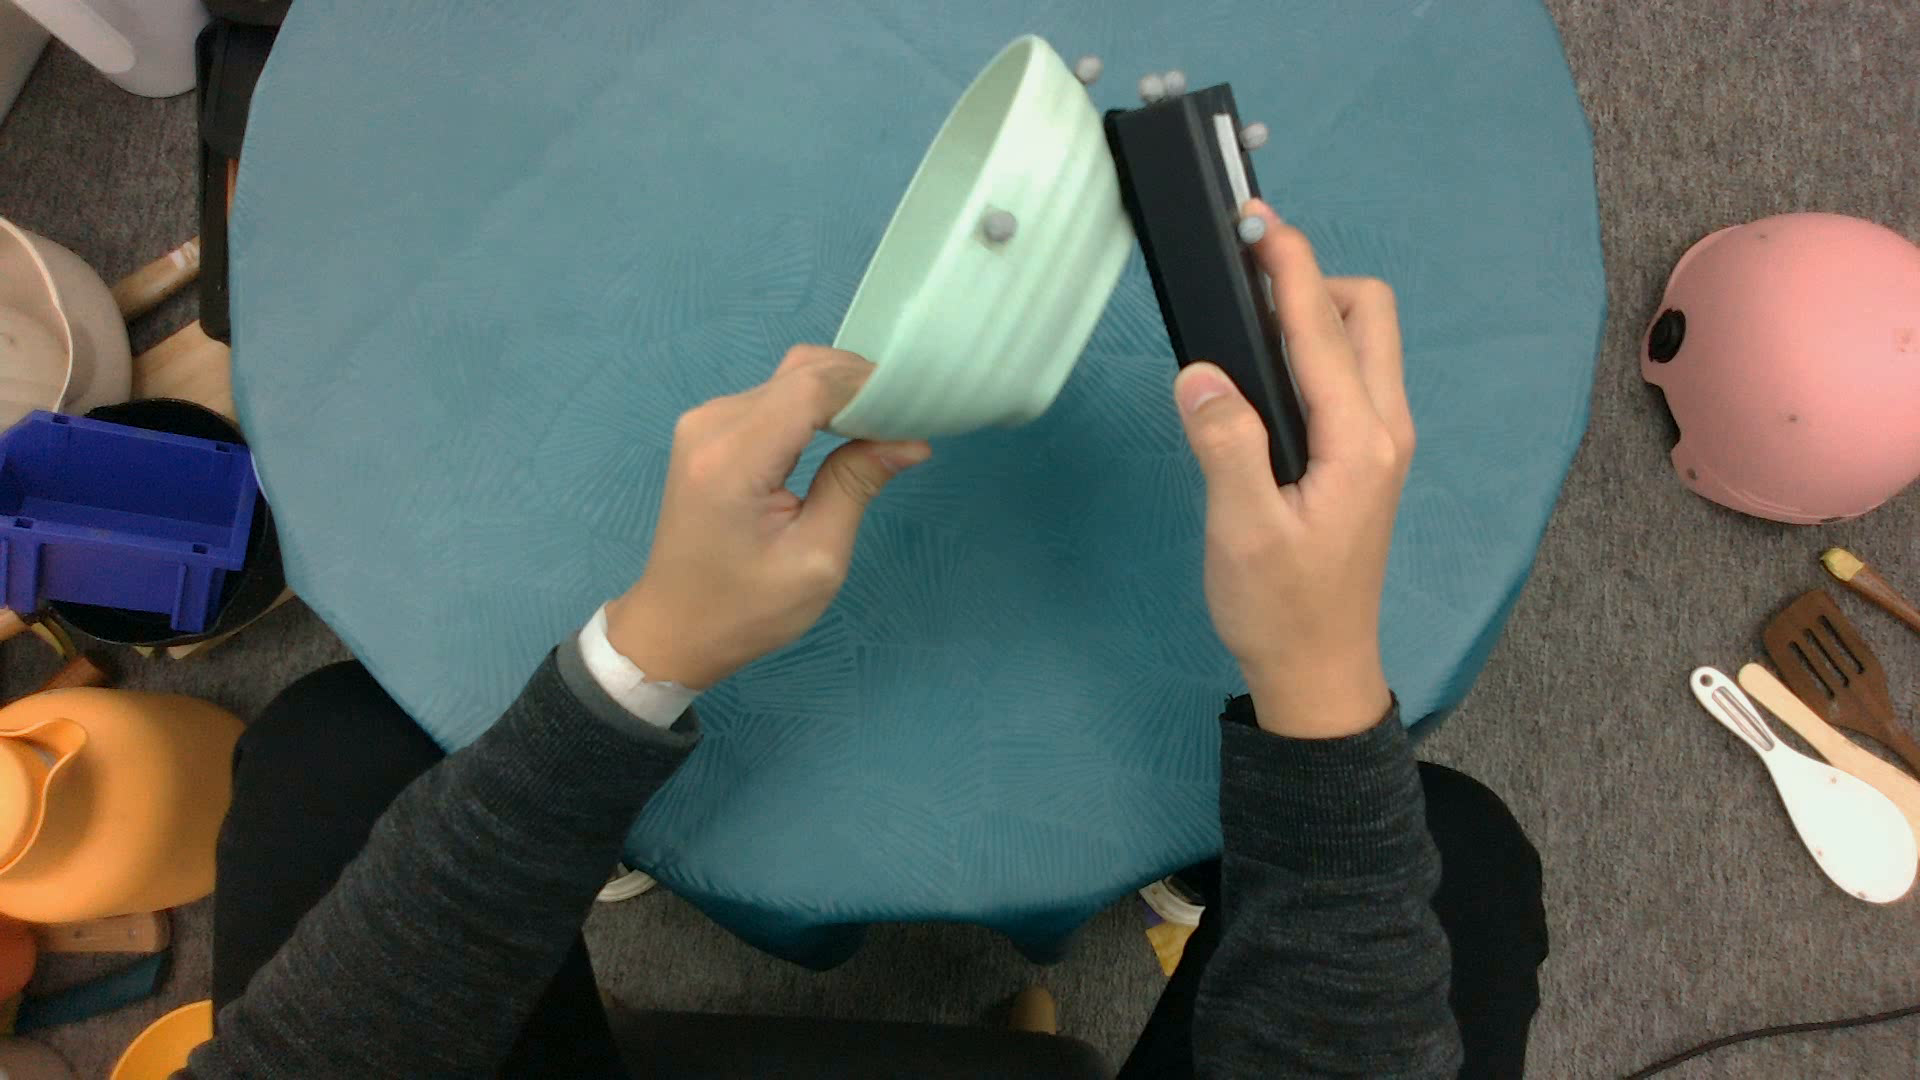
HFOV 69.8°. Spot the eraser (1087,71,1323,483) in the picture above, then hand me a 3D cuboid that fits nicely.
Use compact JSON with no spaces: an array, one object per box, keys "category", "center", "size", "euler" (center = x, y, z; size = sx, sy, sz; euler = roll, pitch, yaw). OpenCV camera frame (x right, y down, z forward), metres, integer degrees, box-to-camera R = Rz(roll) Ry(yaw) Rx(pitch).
[{"category":"eraser","center":[0.081,-0.084,0.444],"size":[0.030,0.054,0.125],"euler":[-13,105,32]}]

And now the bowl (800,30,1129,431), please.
[{"category":"bowl","center":[0.005,-0.090,0.459],"size":[0.058,0.151,0.151],"euler":[27,81,-15]}]
